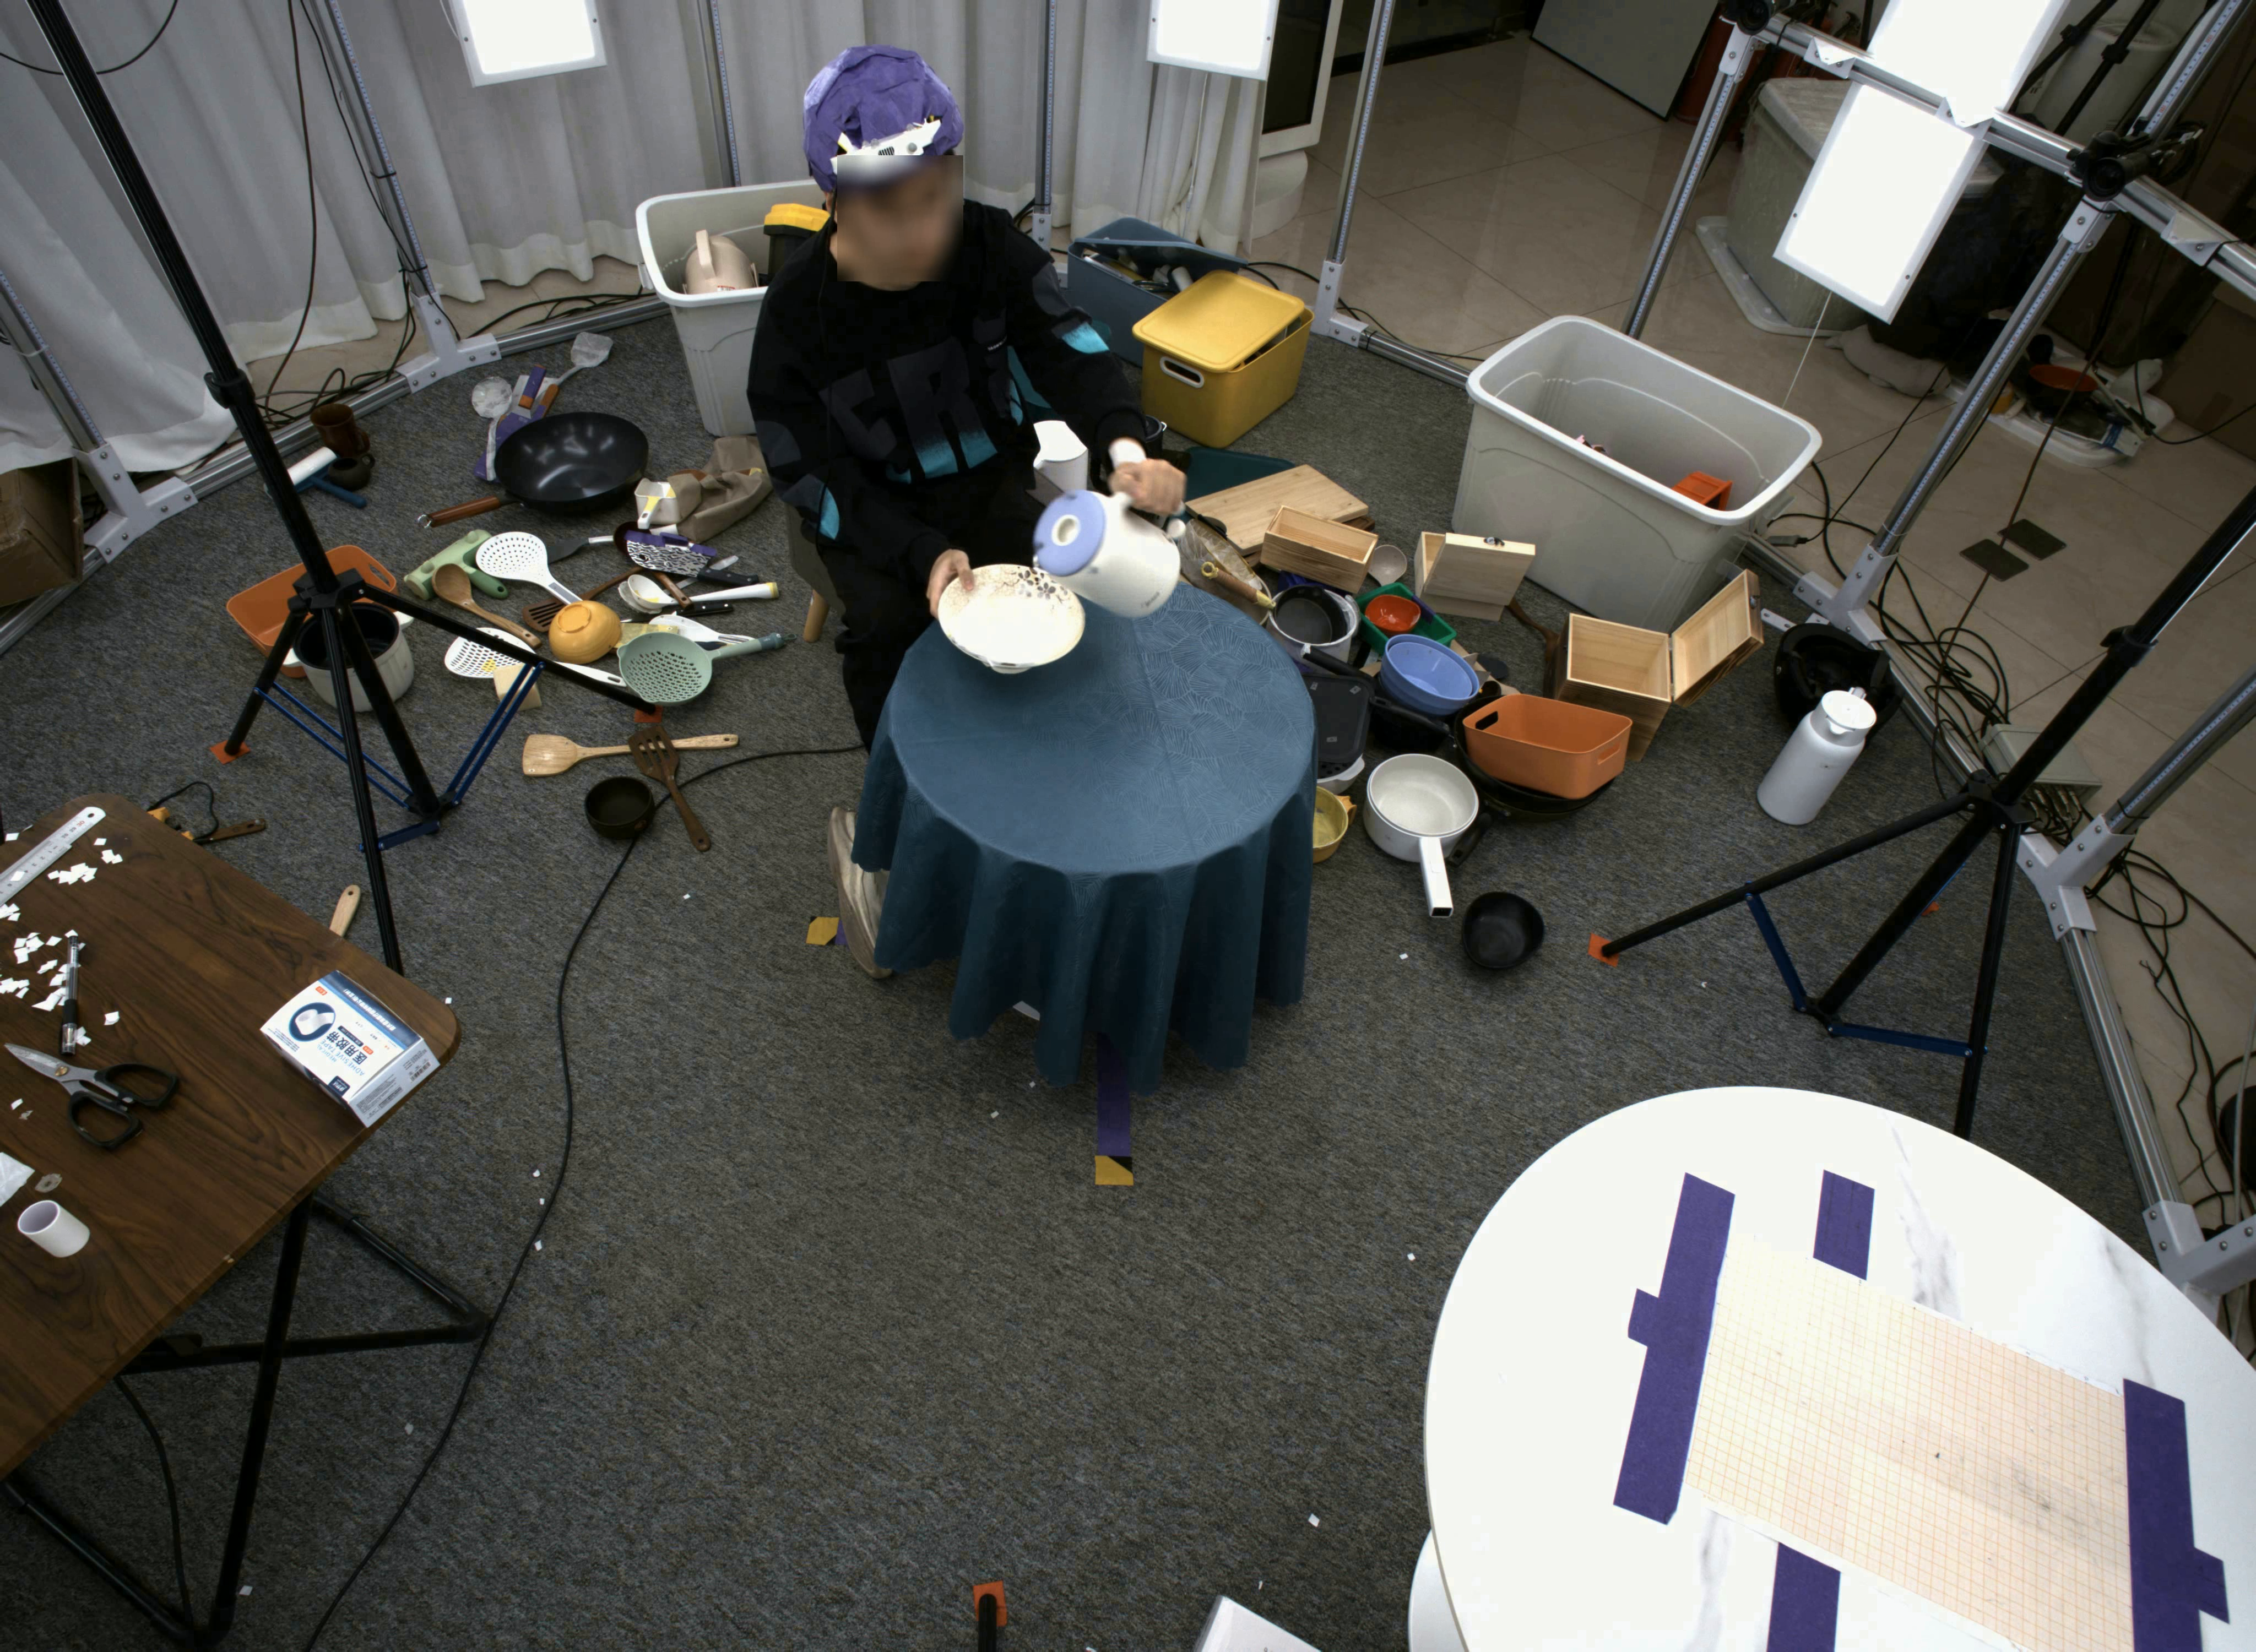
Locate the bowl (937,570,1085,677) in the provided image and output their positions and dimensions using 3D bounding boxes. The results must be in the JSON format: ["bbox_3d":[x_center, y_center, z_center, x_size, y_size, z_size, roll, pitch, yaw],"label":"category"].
[{"bbox_3d":[-0.165,-0.266,1.801,0.203,0.076,0.209,4,46,-5],"label":"bowl"}]

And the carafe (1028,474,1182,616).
[{"bbox_3d":[-0.016,-0.382,1.716,0.180,0.189,0.135,19,35,-52],"label":"carafe"}]
